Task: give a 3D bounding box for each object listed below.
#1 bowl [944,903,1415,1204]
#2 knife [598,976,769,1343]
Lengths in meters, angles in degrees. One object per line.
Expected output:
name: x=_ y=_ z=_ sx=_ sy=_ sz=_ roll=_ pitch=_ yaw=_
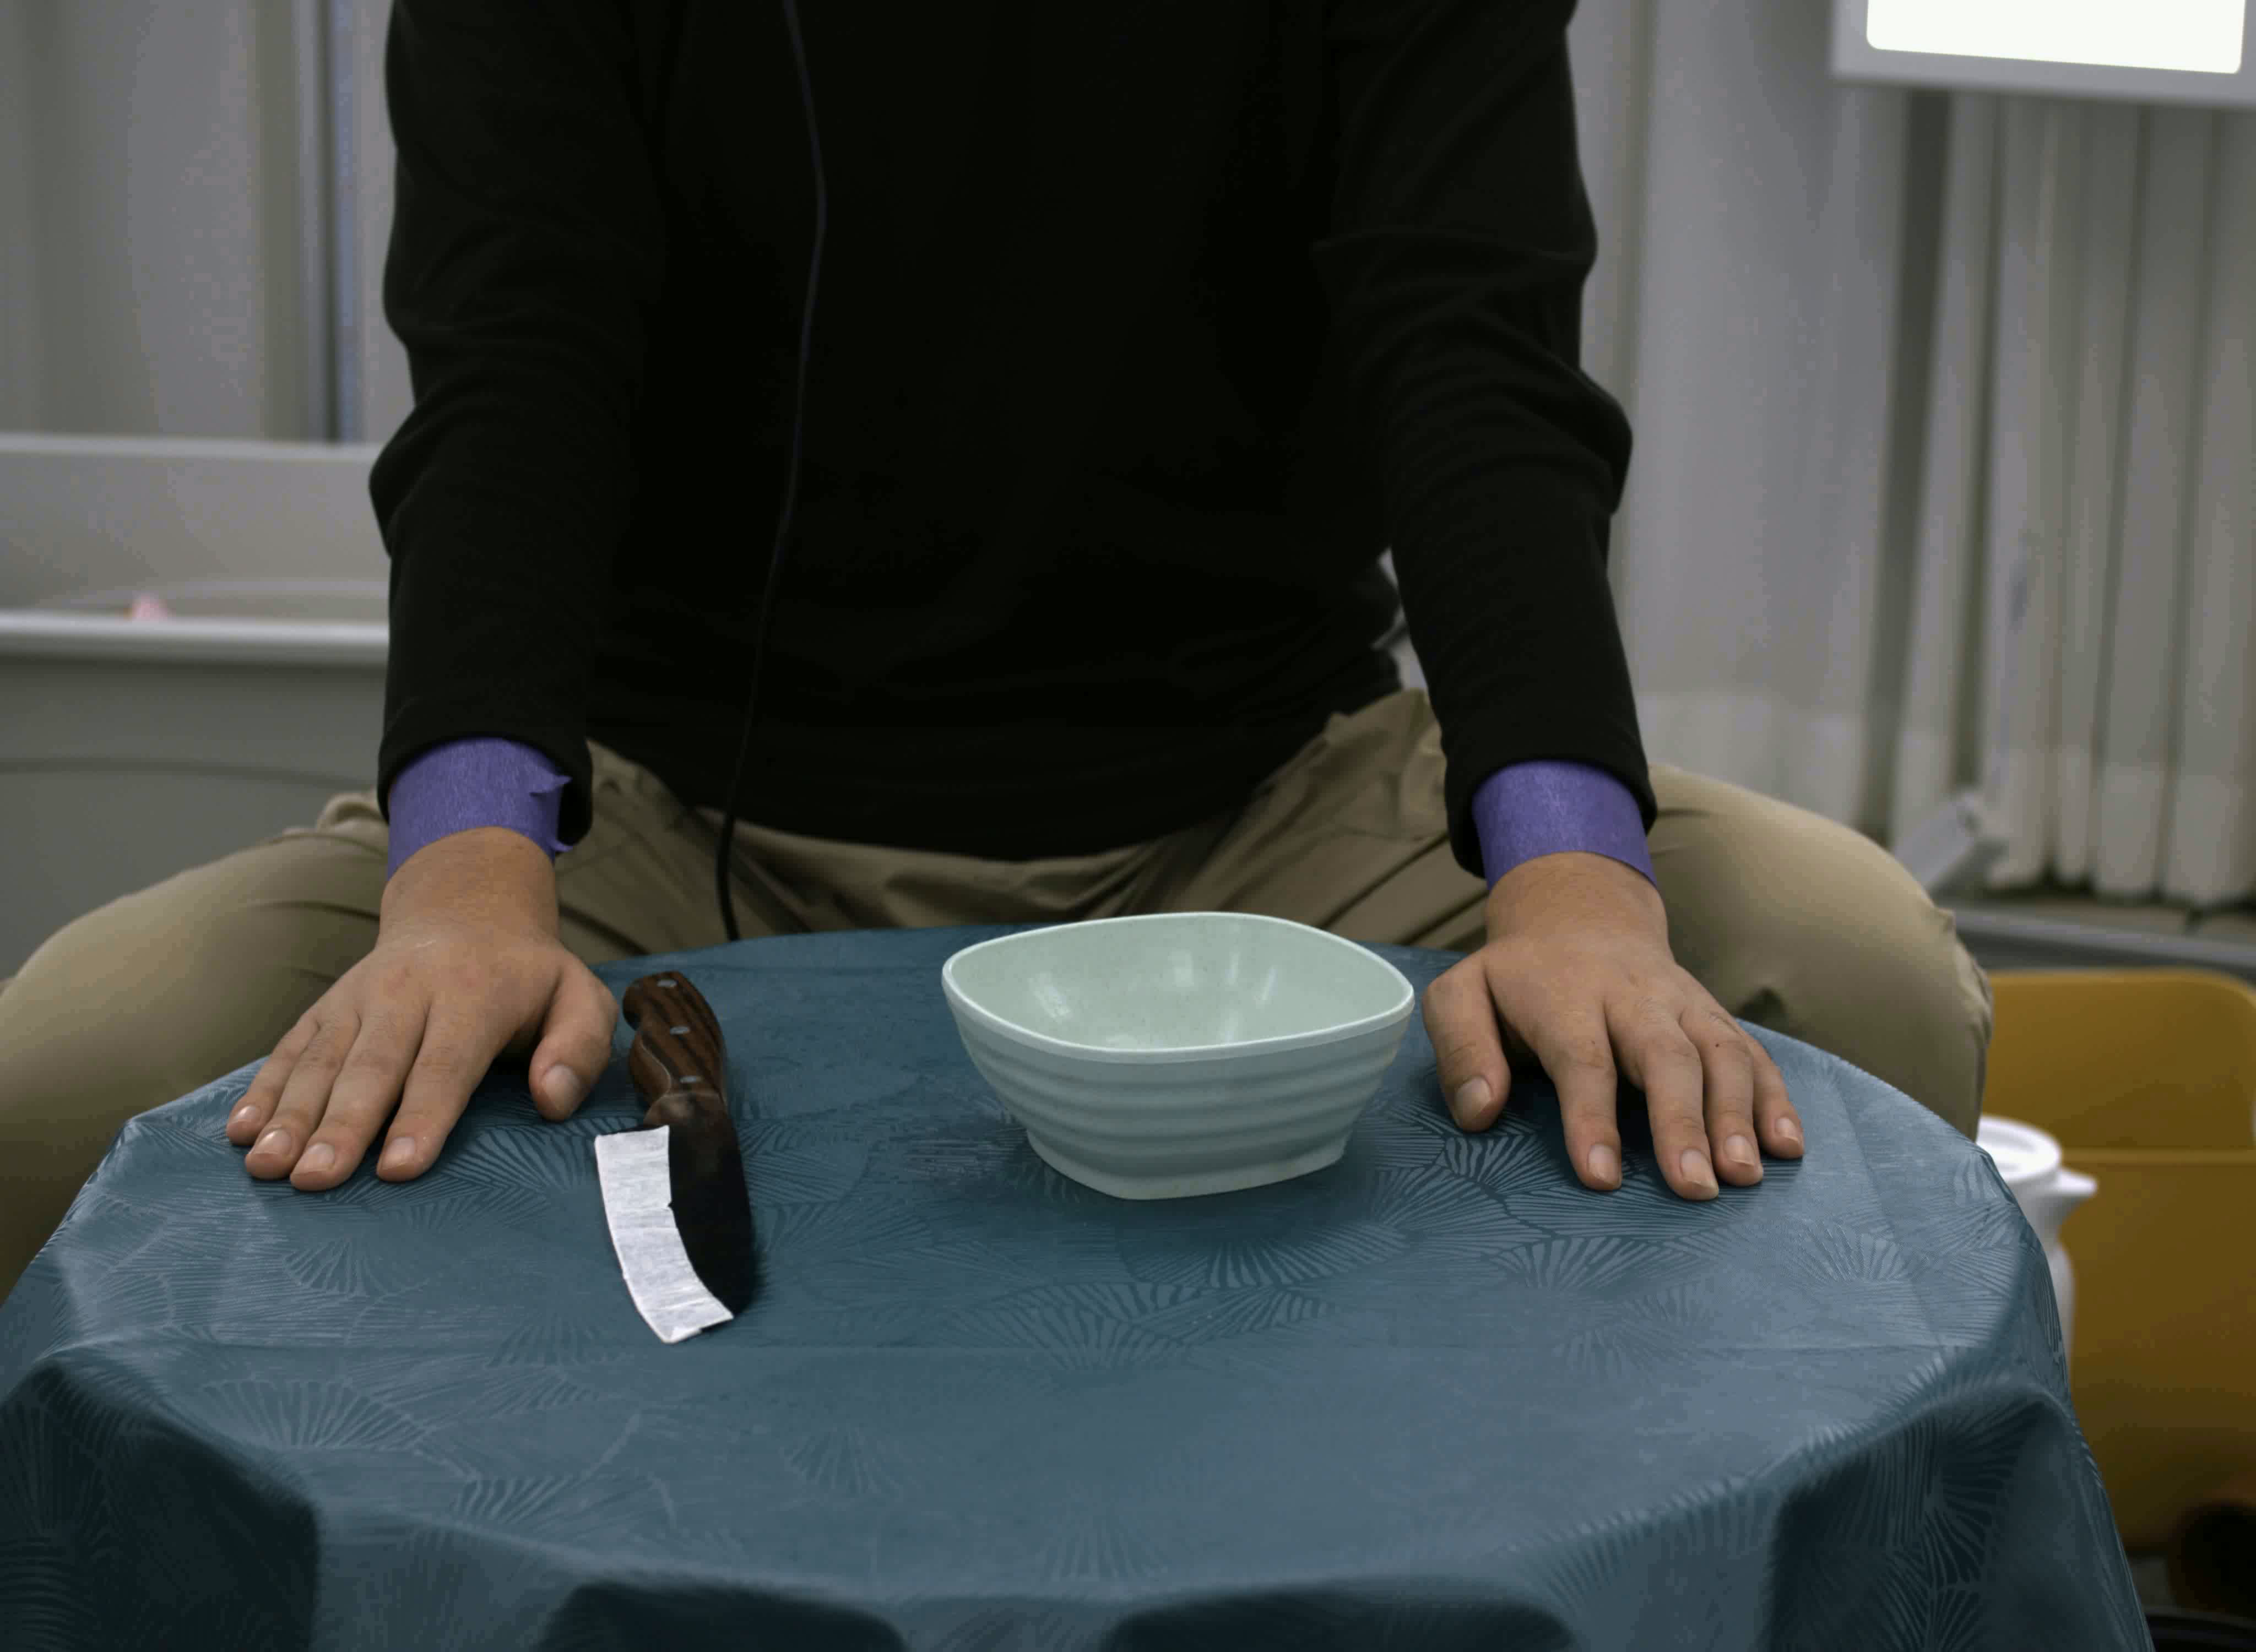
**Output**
bowl: x=0.015 y=0.075 z=1.653 sx=0.151 sy=0.059 sz=0.150 roll=1 pitch=18 yaw=0
knife: x=-0.139 y=0.102 z=1.628 sx=0.050 sy=0.020 sz=0.287 roll=-6 pitch=19 yaw=-4
